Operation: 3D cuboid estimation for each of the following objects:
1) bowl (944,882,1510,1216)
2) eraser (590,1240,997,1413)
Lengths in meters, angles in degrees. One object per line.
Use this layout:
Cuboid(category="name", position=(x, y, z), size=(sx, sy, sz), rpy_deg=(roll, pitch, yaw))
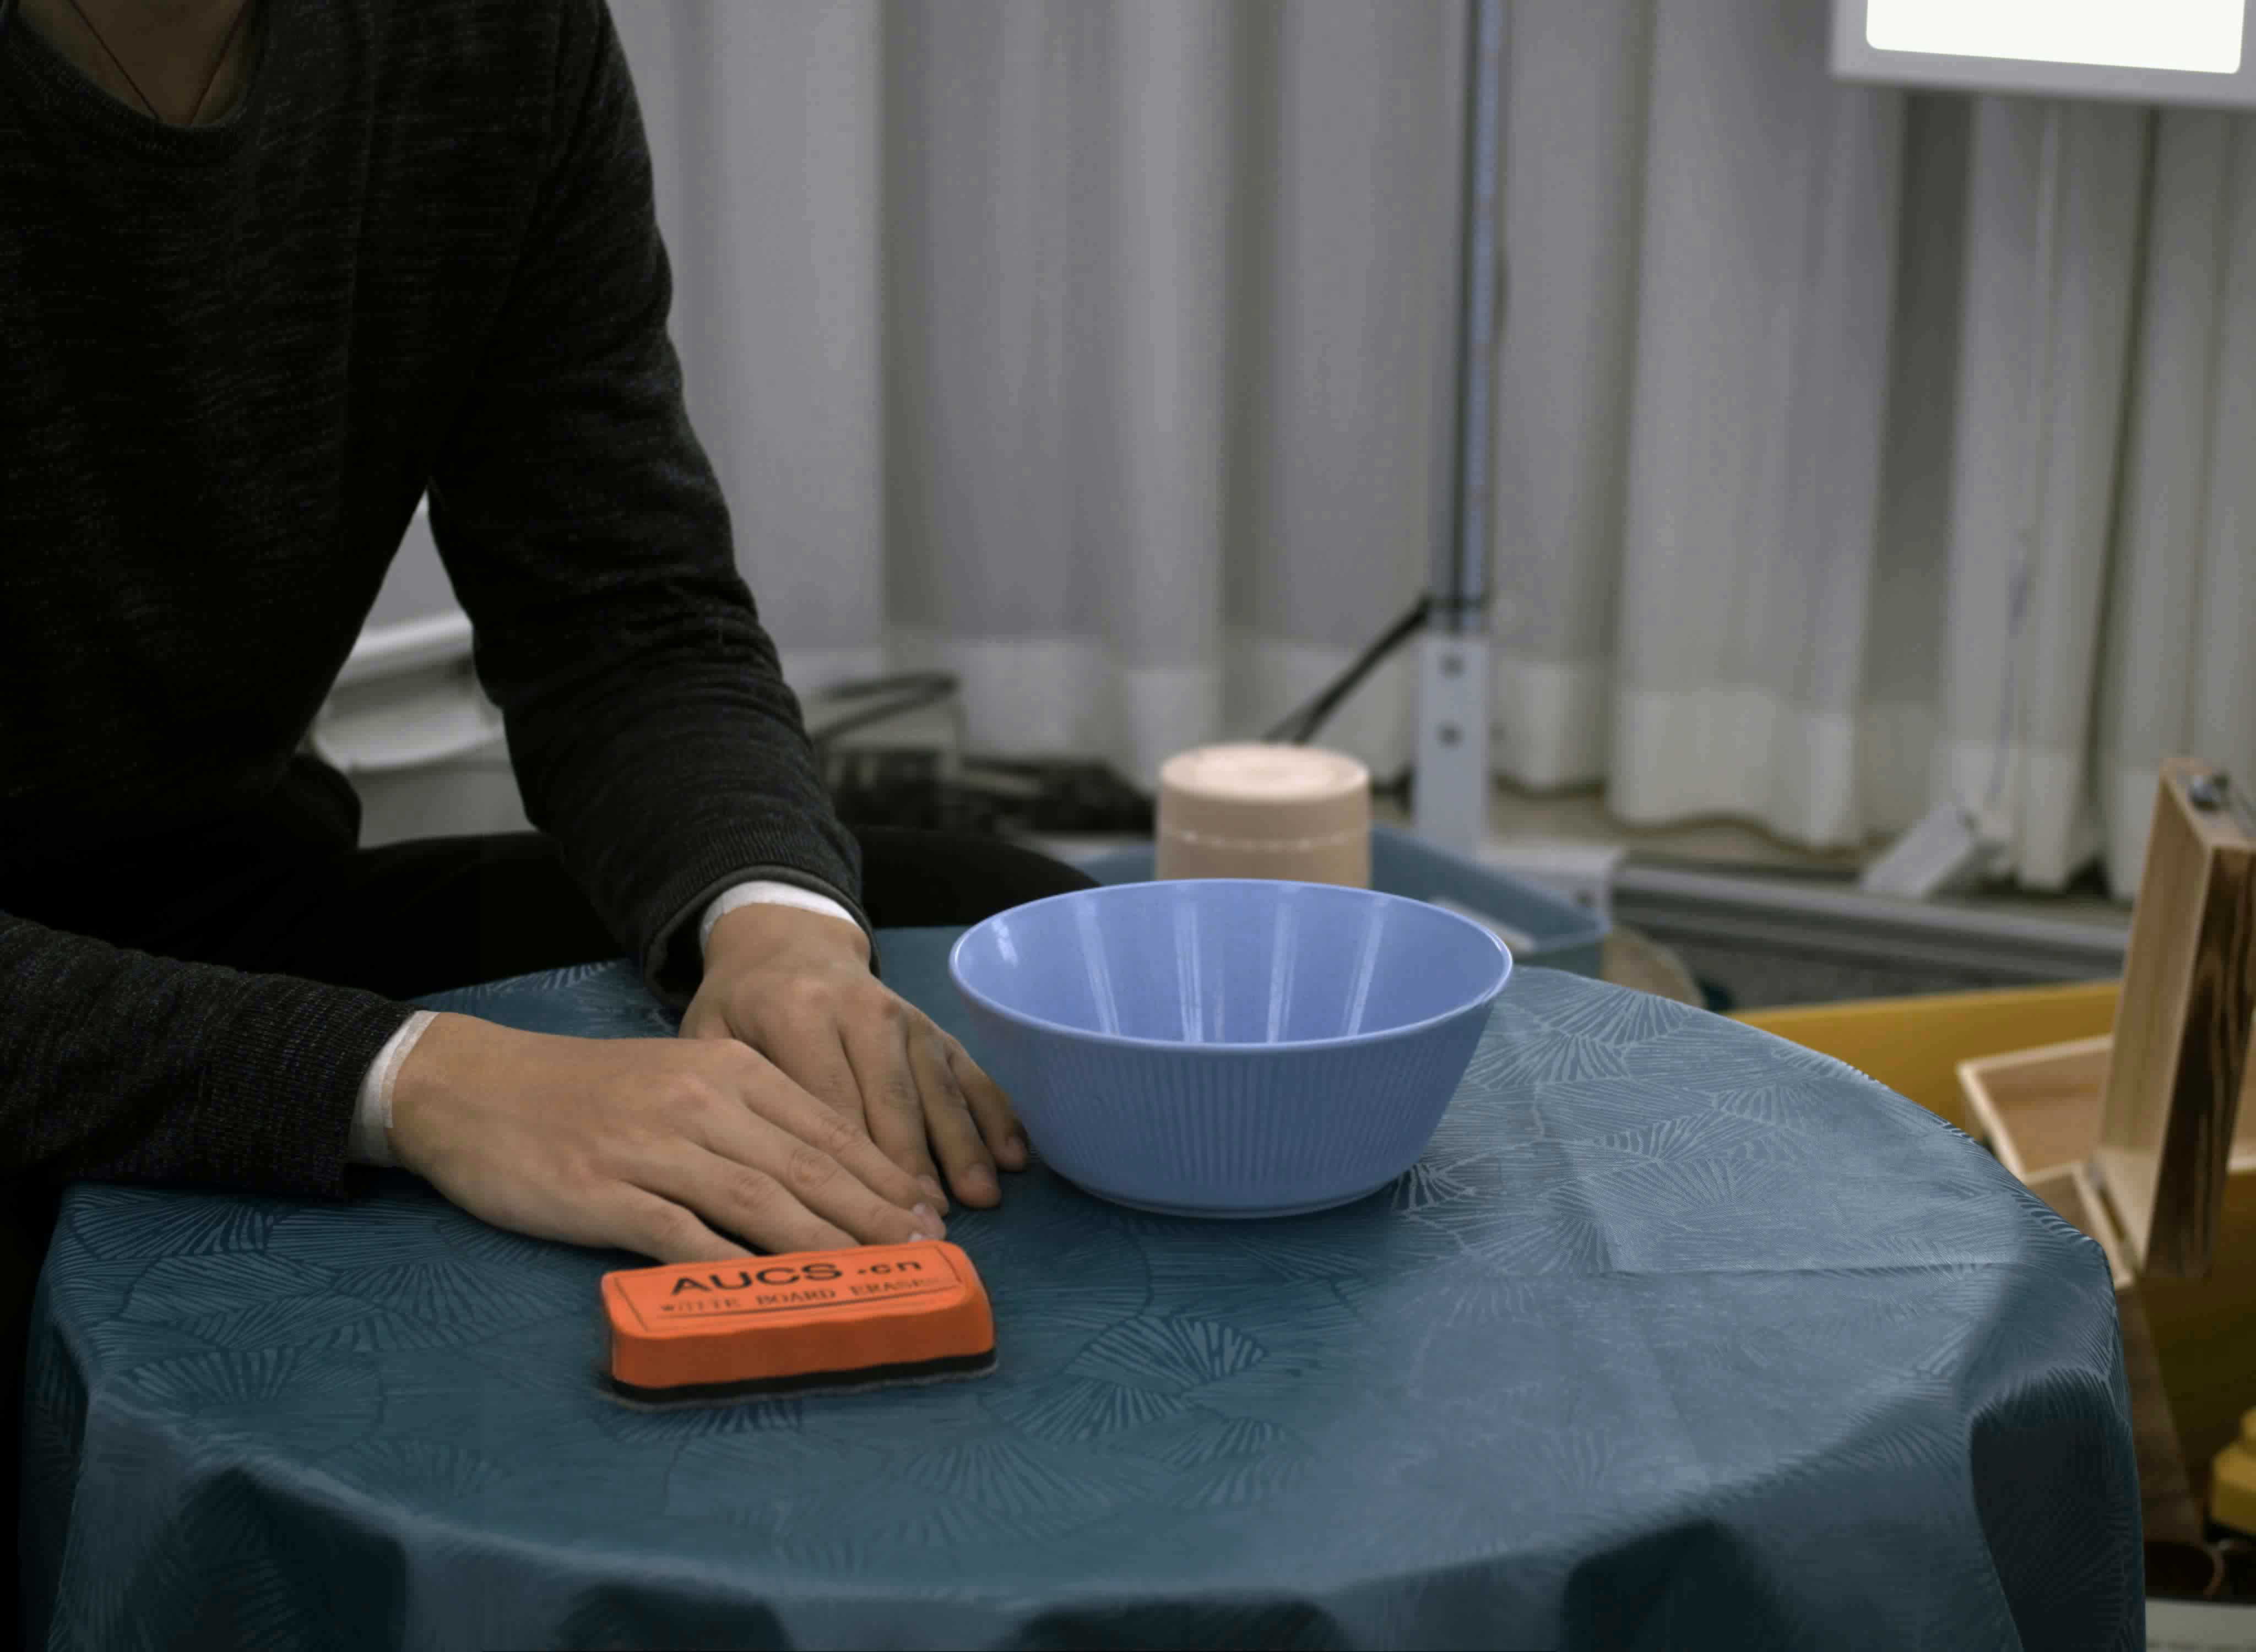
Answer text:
Cuboid(category="bowl", position=(0.031, 0.072, 1.639), size=(0.175, 0.071, 0.175), rpy_deg=(0, 16, 0))
Cuboid(category="eraser", position=(-0.094, 0.140, 1.474), size=(0.108, 0.023, 0.058), rpy_deg=(-5, 18, -16))
